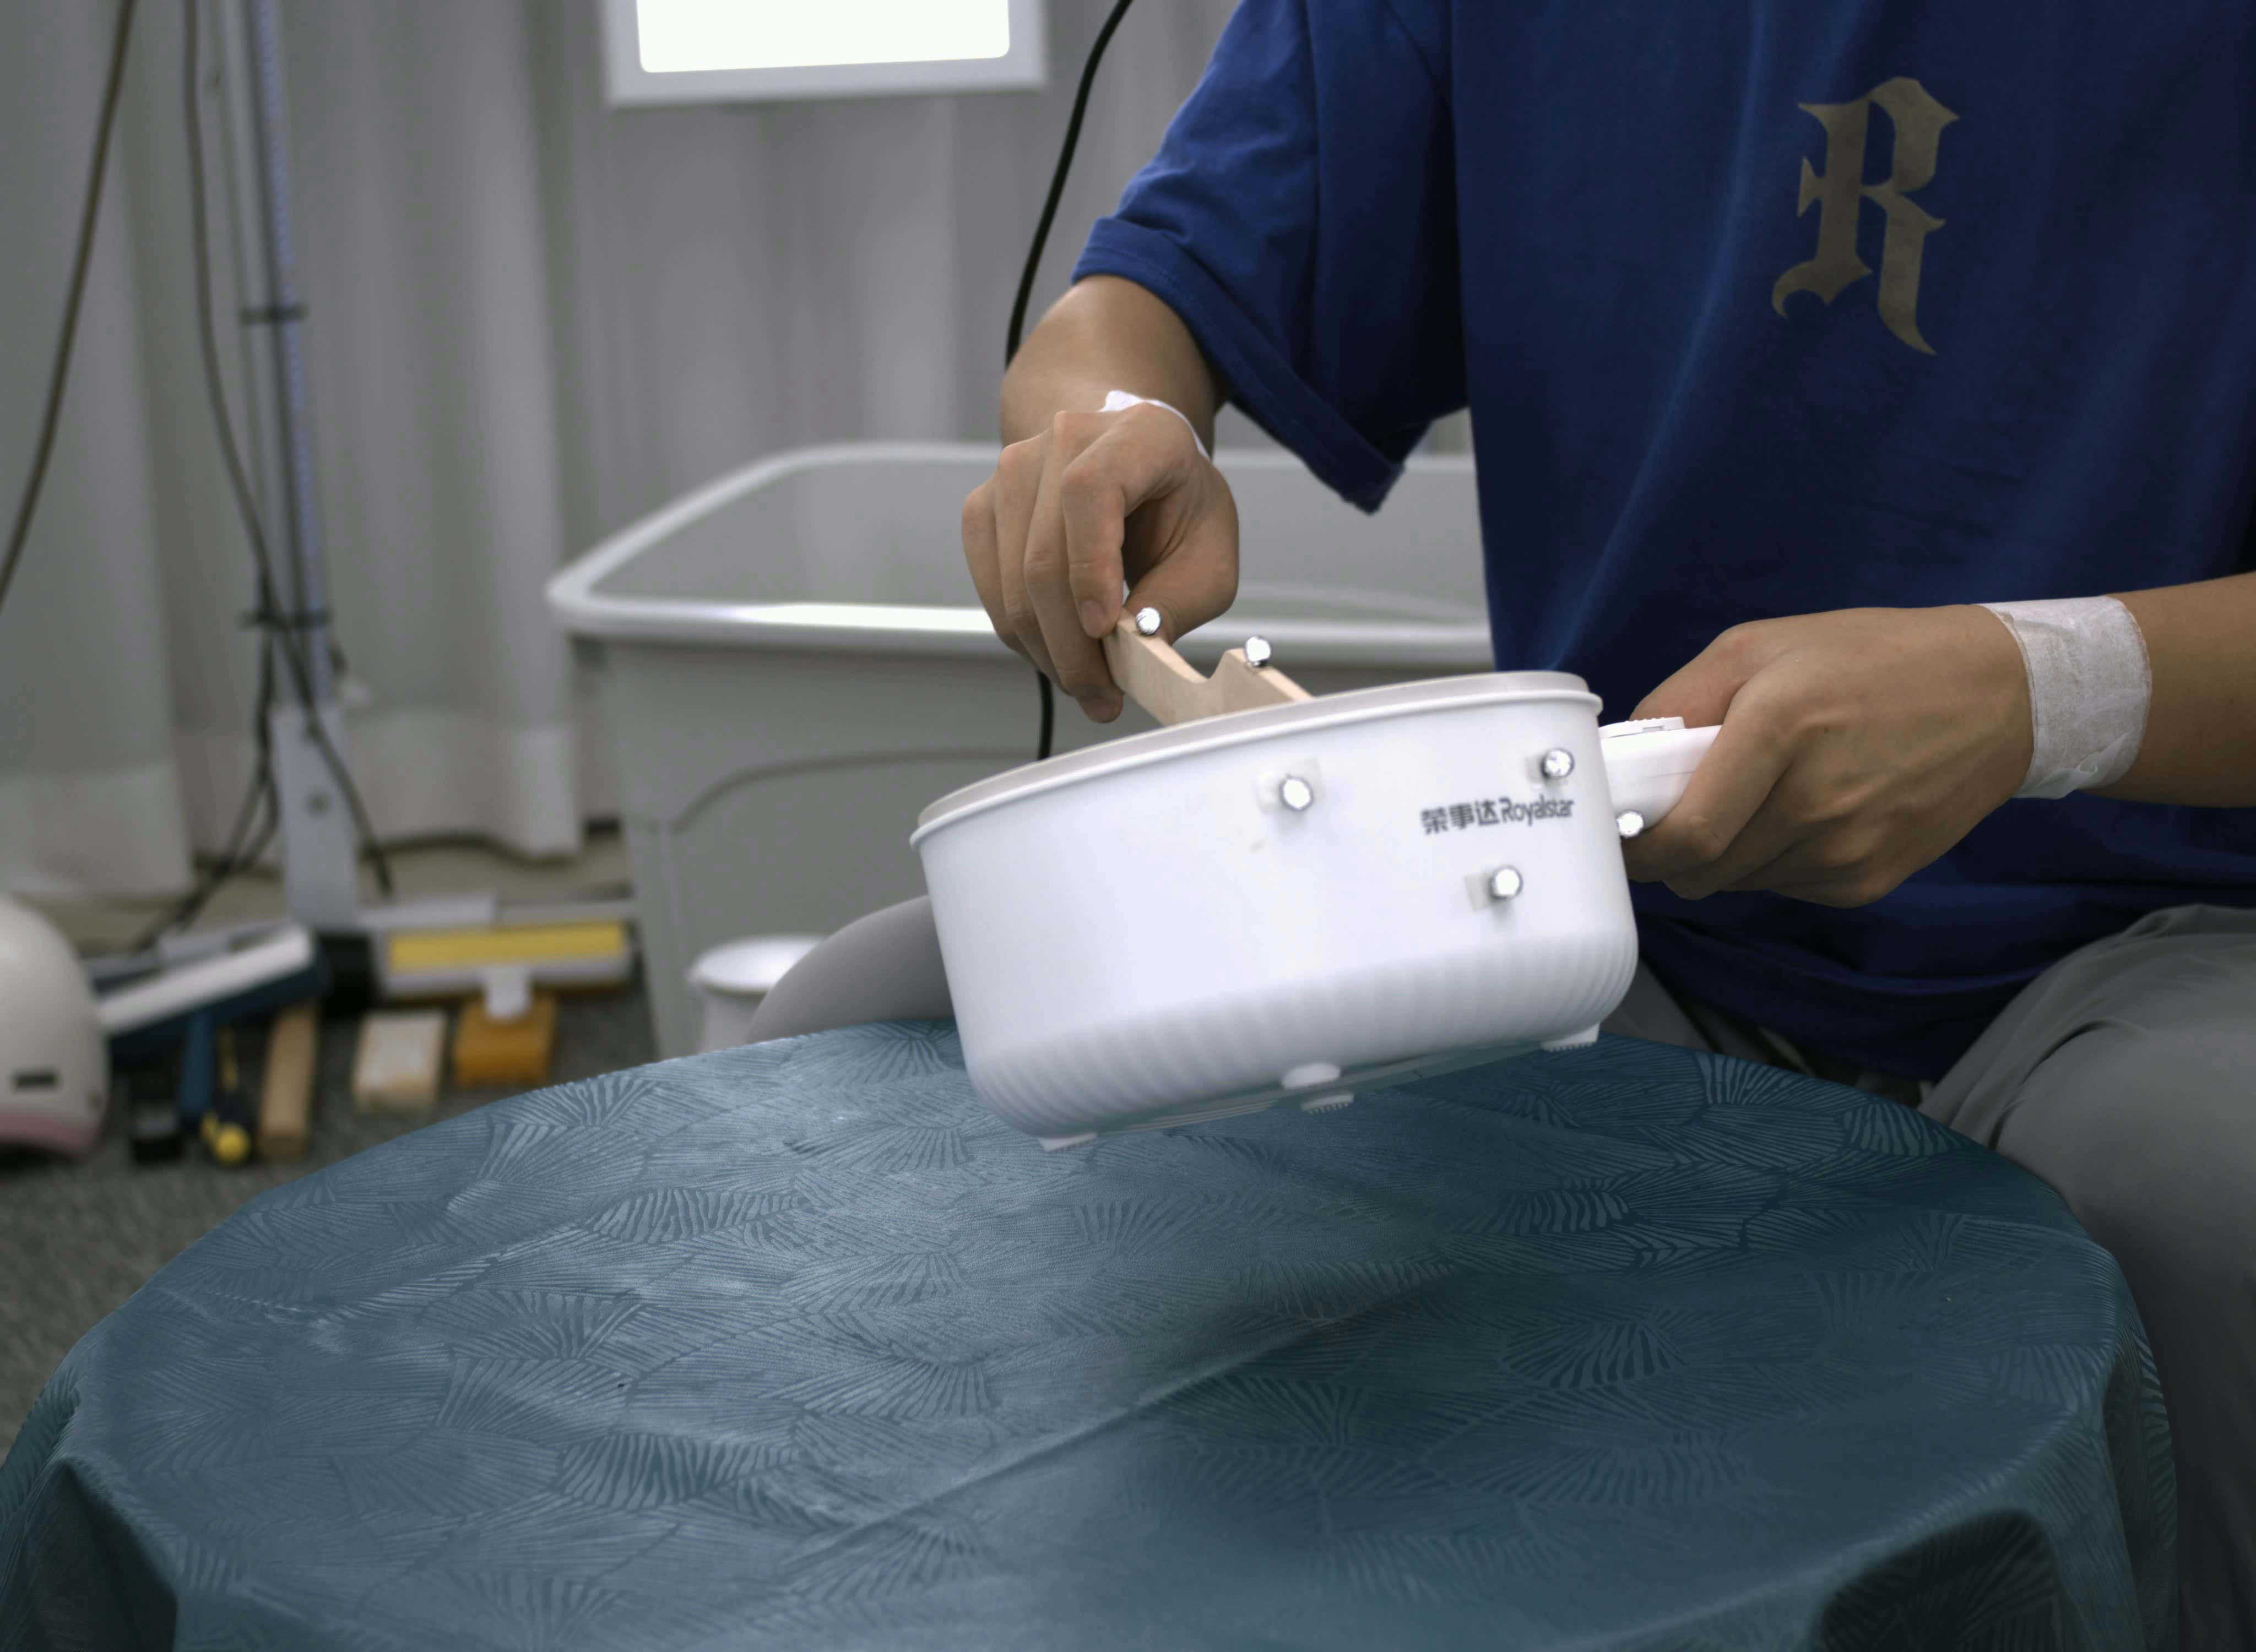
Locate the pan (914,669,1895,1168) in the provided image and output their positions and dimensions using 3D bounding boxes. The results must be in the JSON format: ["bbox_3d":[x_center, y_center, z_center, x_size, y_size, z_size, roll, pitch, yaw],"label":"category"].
[{"bbox_3d":[0.102,0.025,1.600,0.353,0.103,0.201,-6,-11,-43],"label":"pan"}]

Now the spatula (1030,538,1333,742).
[{"bbox_3d":[0.016,-0.043,1.686,0.010,0.072,0.296,-15,21,-14],"label":"spatula"}]
